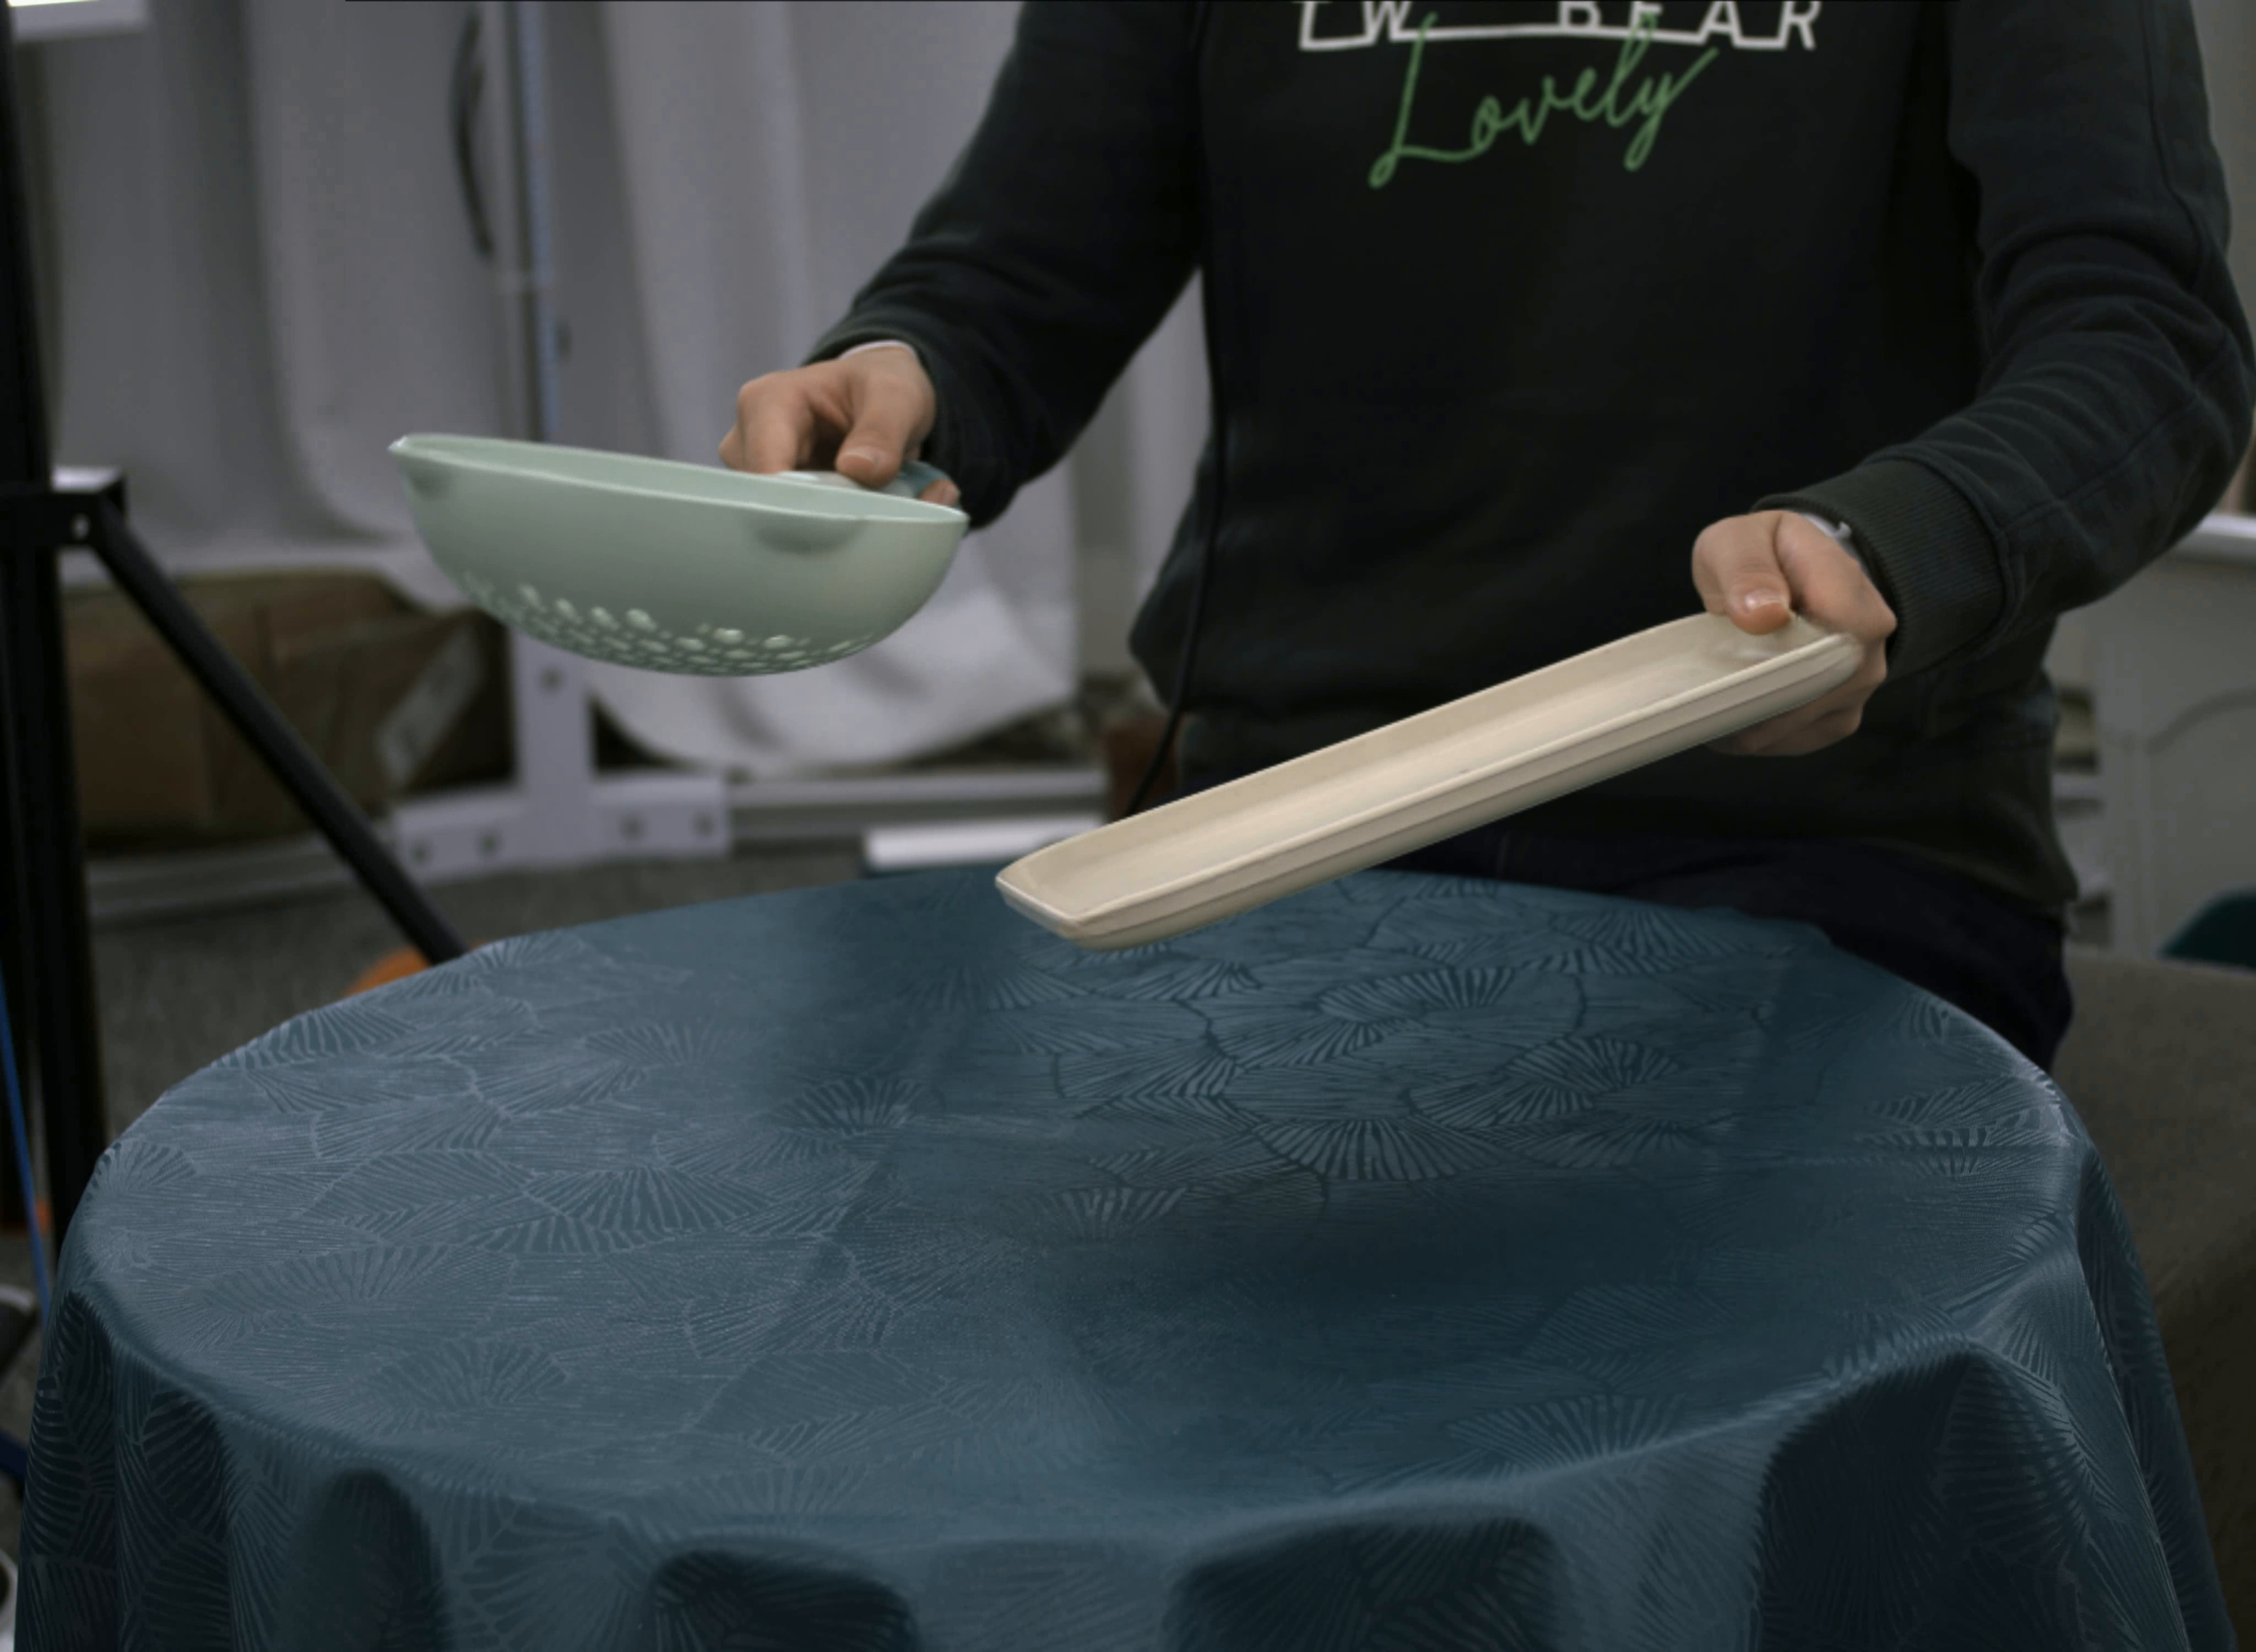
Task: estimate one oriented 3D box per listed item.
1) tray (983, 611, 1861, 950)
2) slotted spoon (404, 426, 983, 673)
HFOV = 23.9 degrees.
[{"bbox_3d":[0.081,-0.013,1.493,0.238,0.017,0.172,-19,7,-6],"label":"tray"},{"bbox_3d":[-0.105,-0.097,1.662,0.171,0.075,0.355,11,14,14],"label":"slotted spoon"}]
